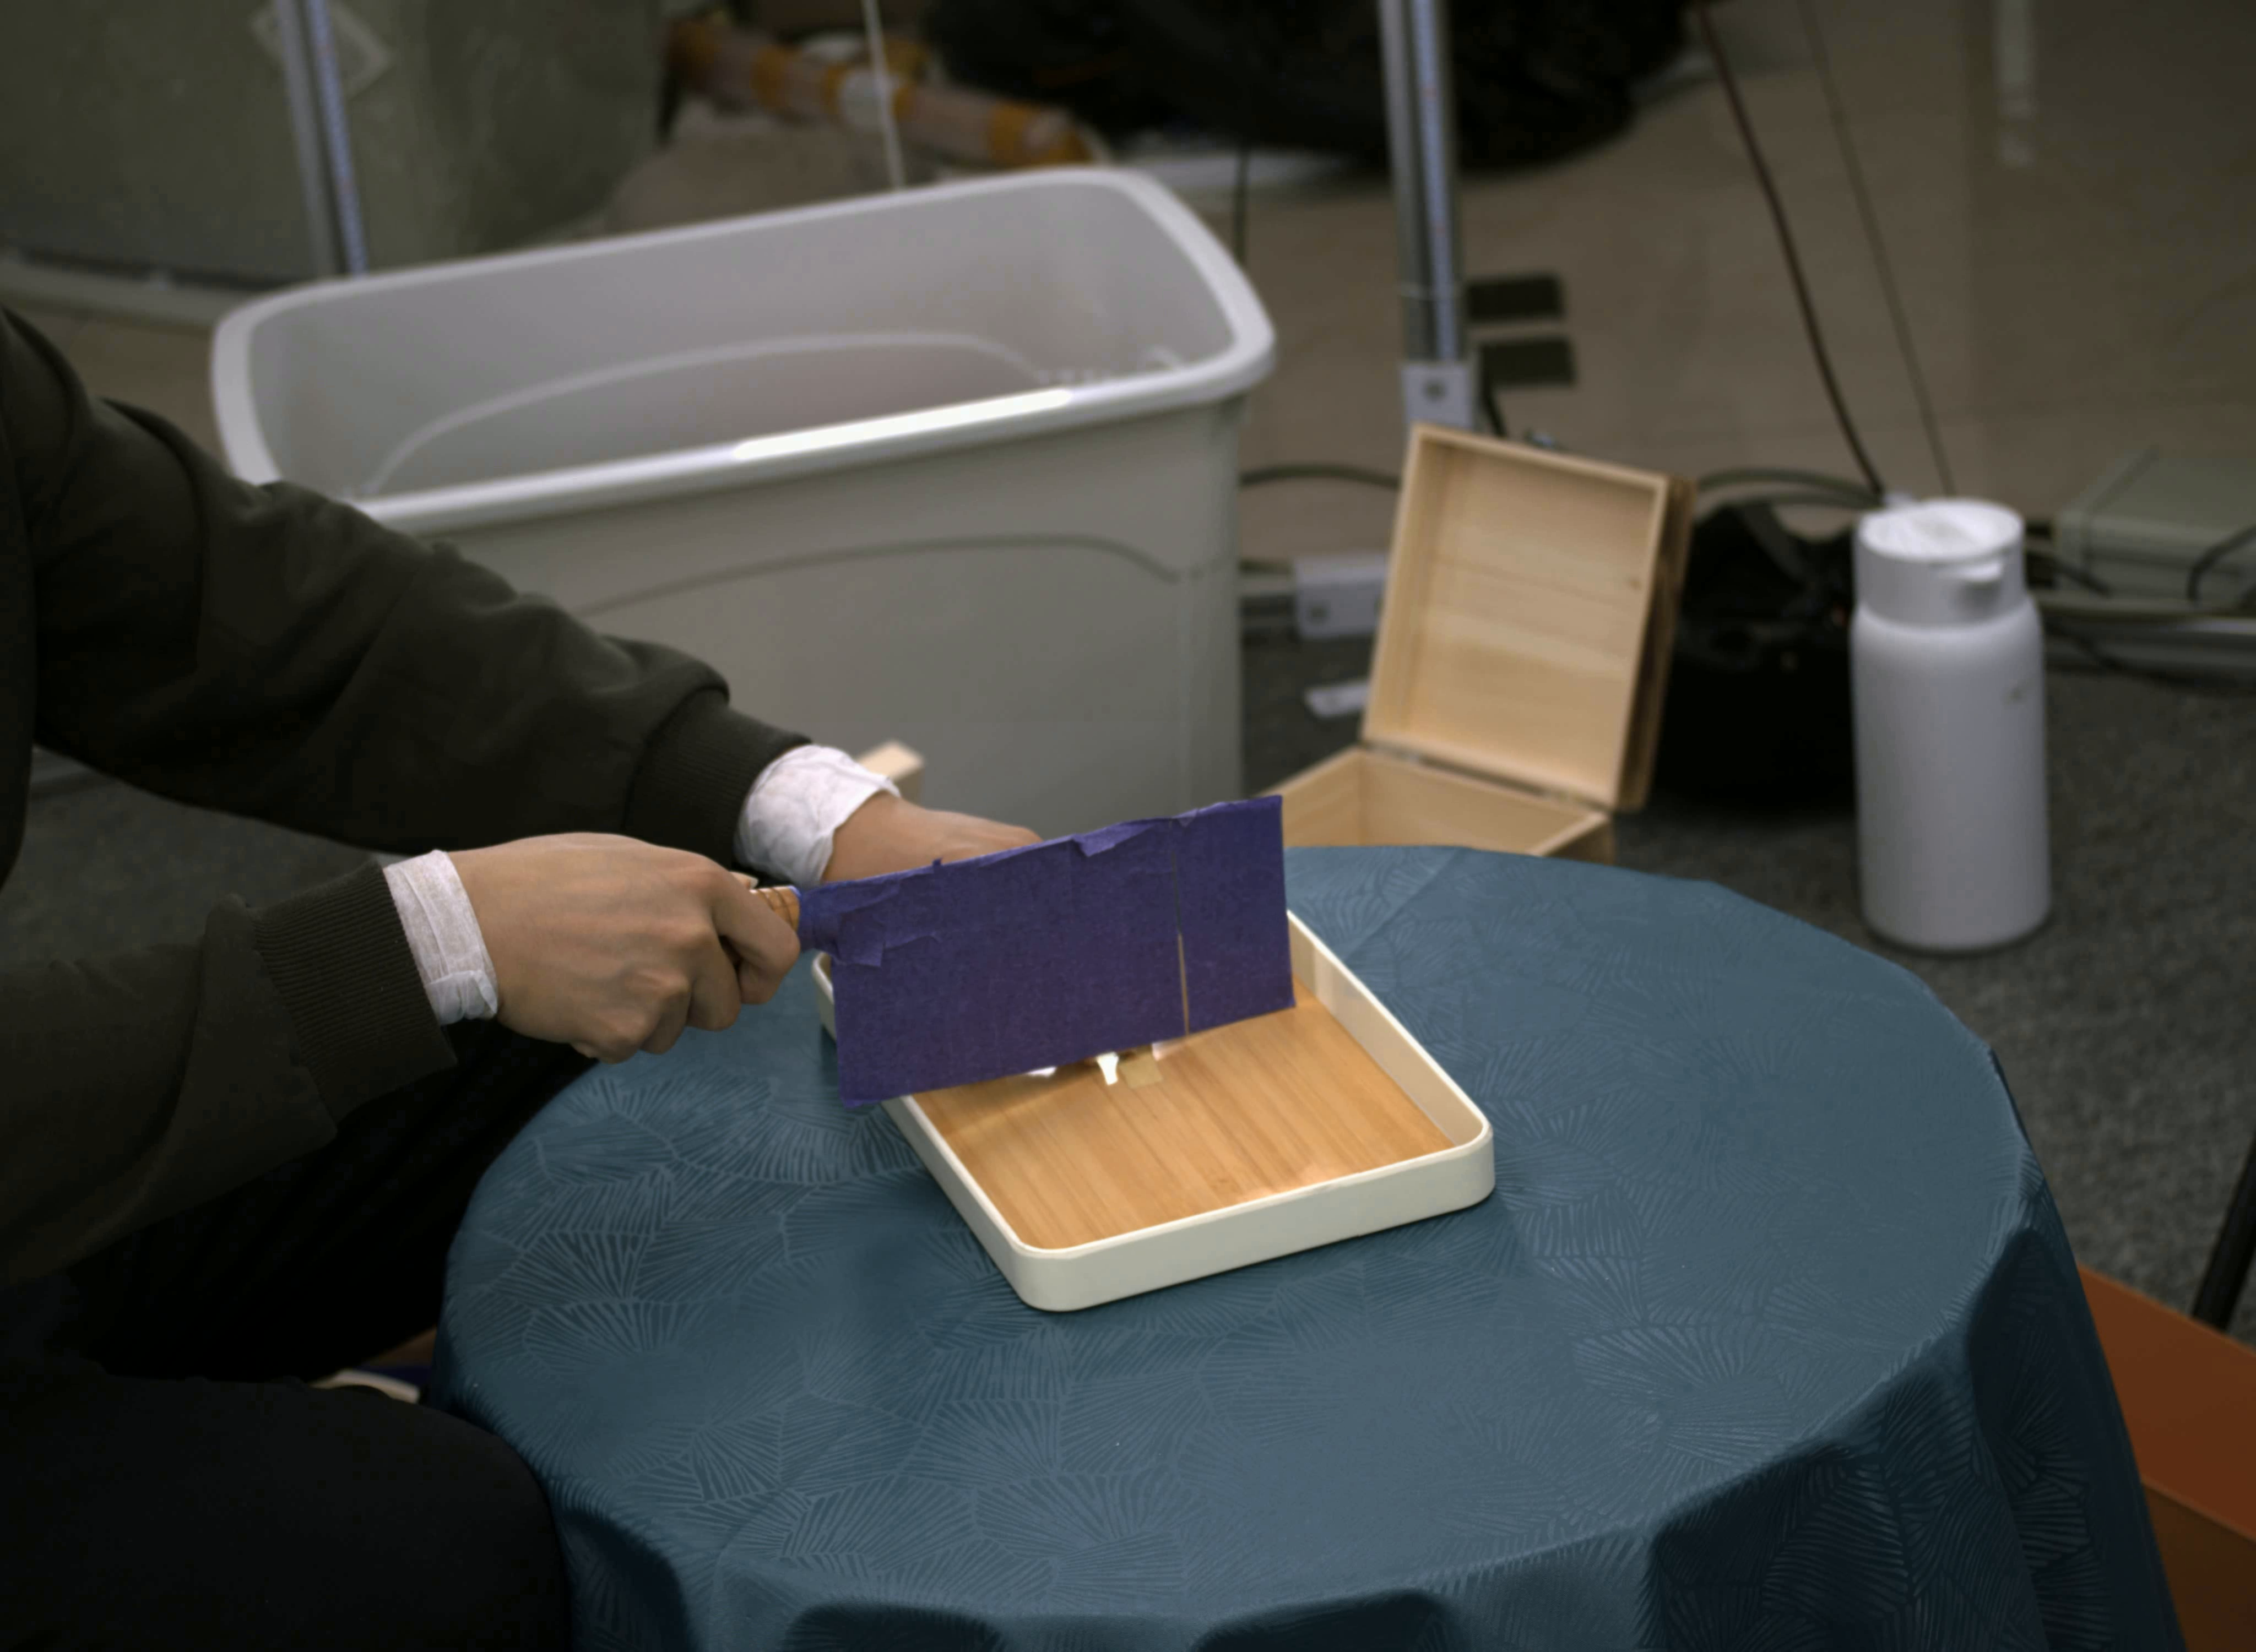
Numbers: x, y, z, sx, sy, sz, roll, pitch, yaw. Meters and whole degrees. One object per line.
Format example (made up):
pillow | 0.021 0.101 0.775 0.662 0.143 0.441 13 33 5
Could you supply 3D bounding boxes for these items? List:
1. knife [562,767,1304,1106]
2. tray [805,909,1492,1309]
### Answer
knife | -0.066 0.056 2.177 0.314 0.105 0.032 -12 17 -27
tray | 0.003 0.095 2.212 0.191 0.028 0.296 -13 26 -15
